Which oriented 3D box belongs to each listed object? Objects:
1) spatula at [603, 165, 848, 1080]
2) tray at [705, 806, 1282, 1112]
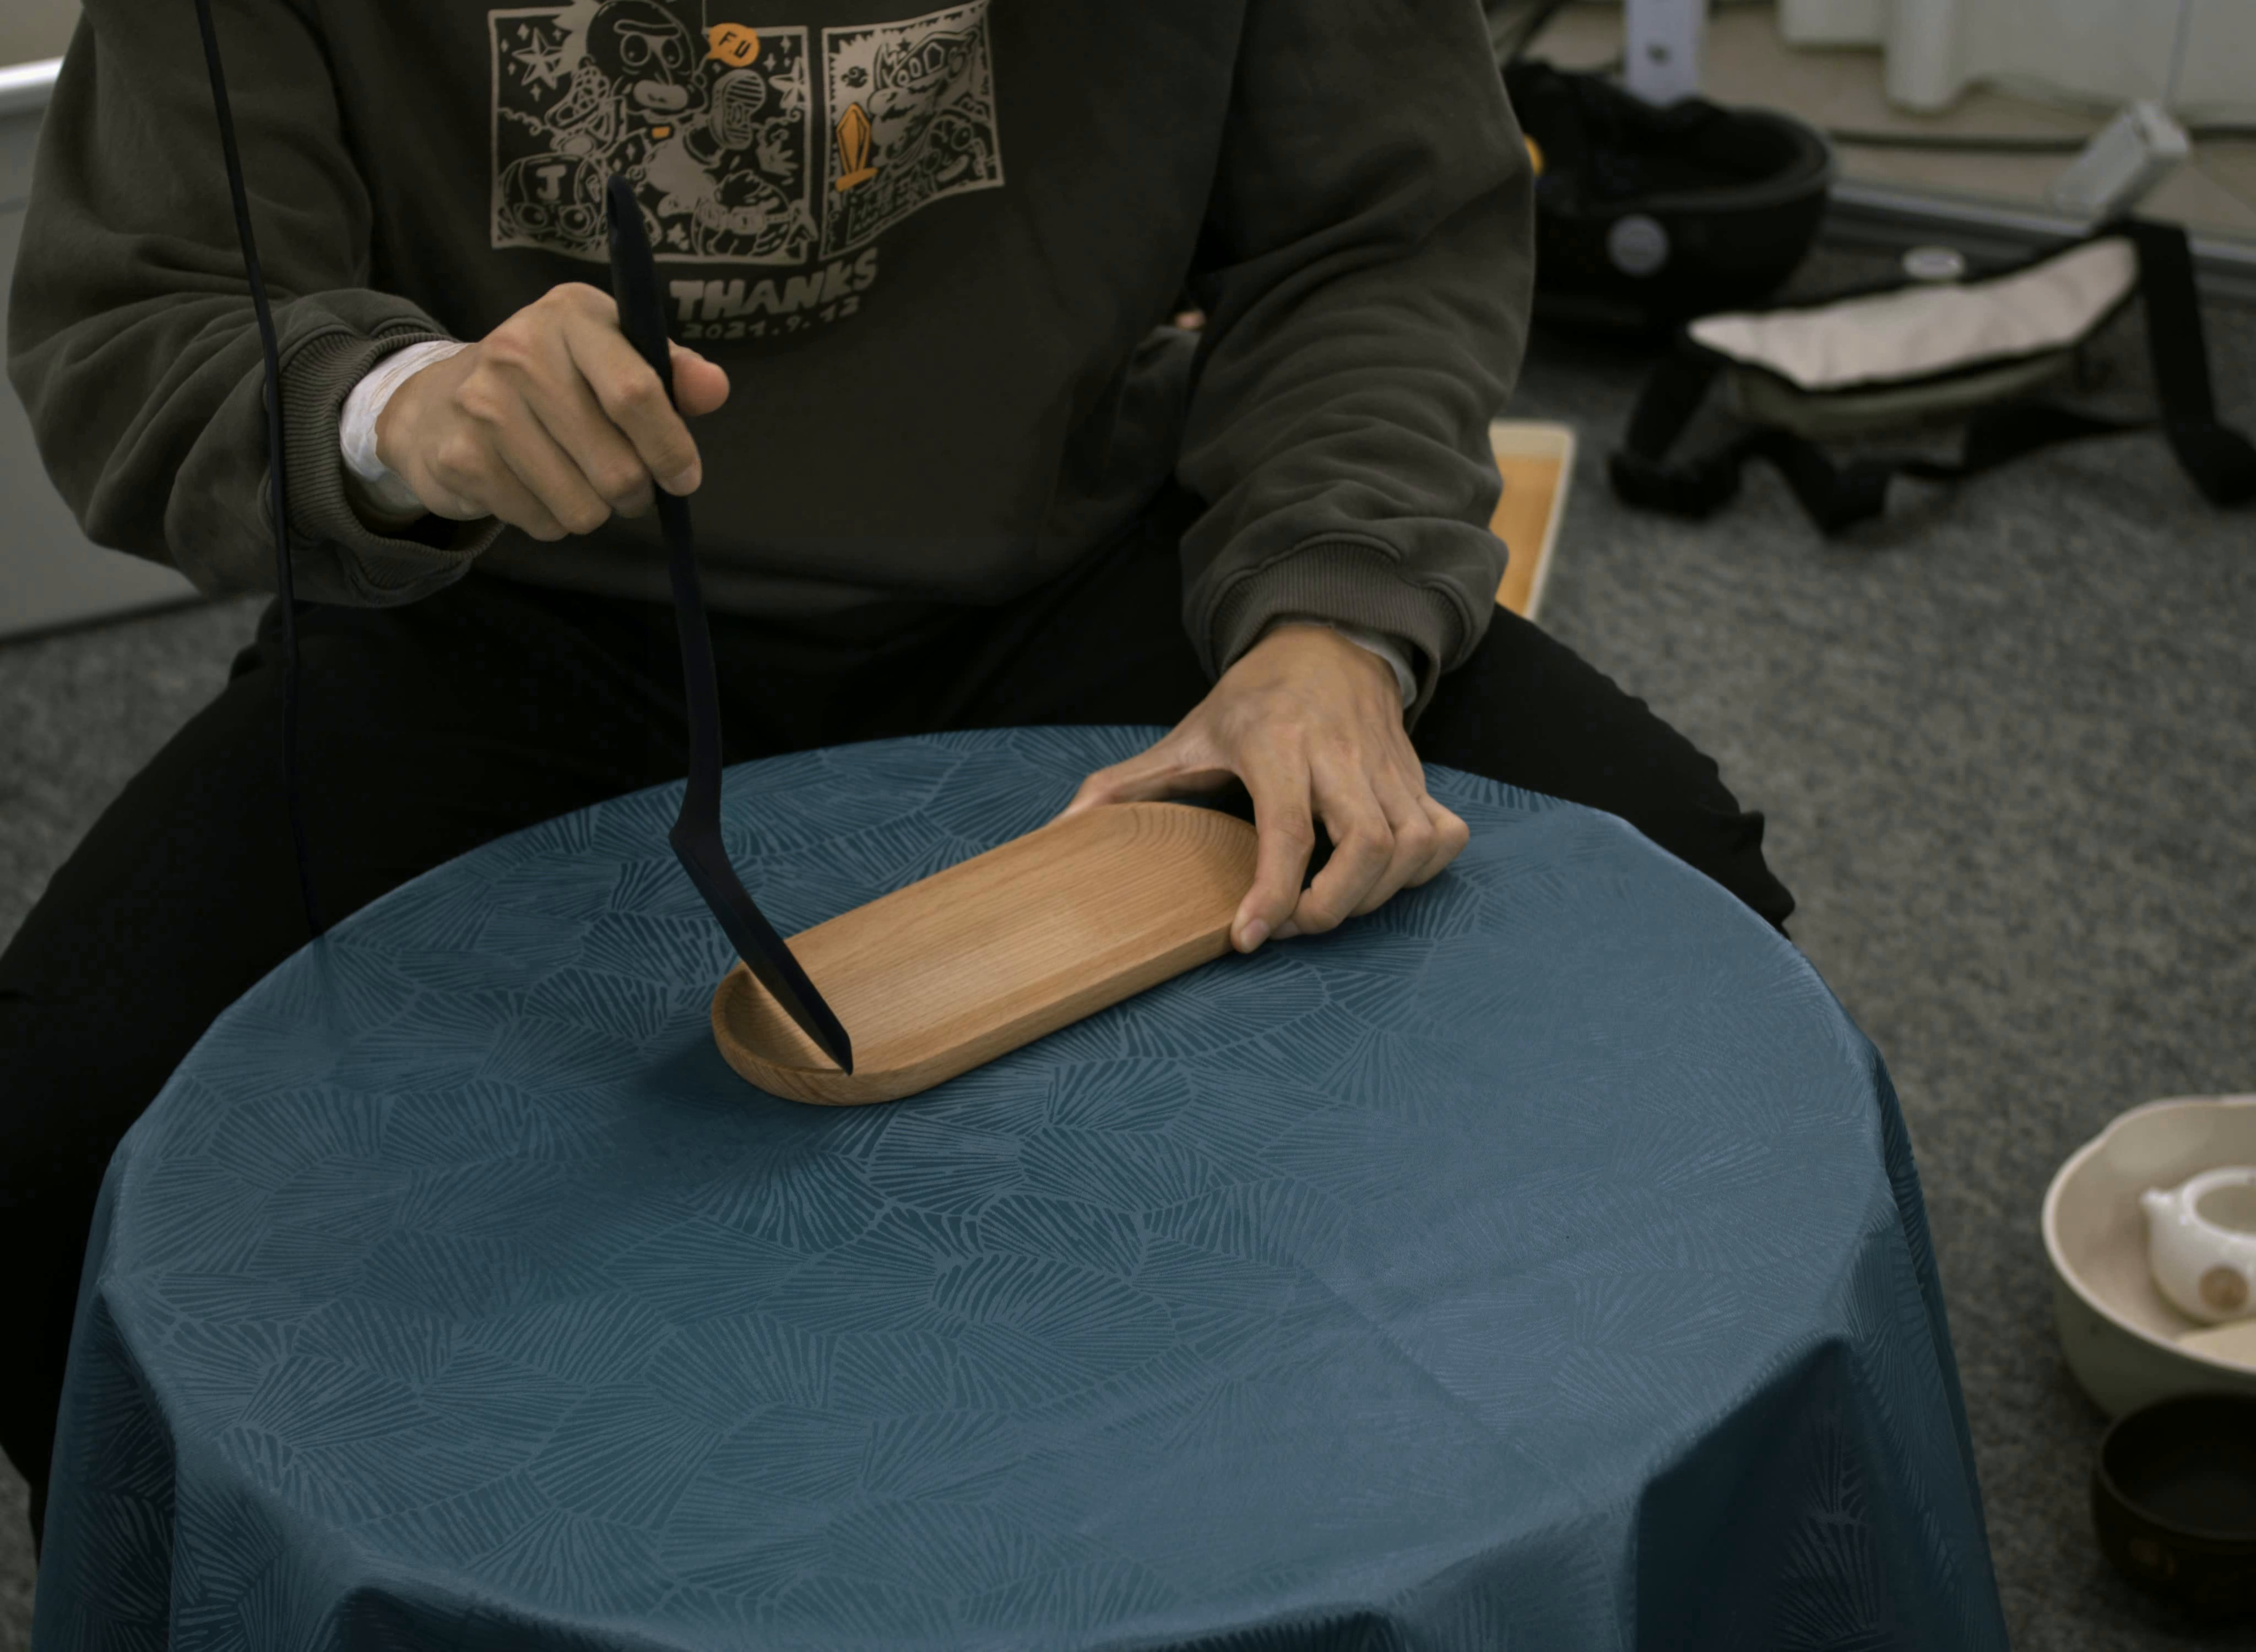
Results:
[{"bbox_3d":[-0.140,-0.067,1.864,0.040,0.323,0.100,-15,27,-22],"label":"spatula"},{"bbox_3d":[-0.046,0.046,1.991,0.233,0.020,0.102,-25,35,-32],"label":"tray"}]
